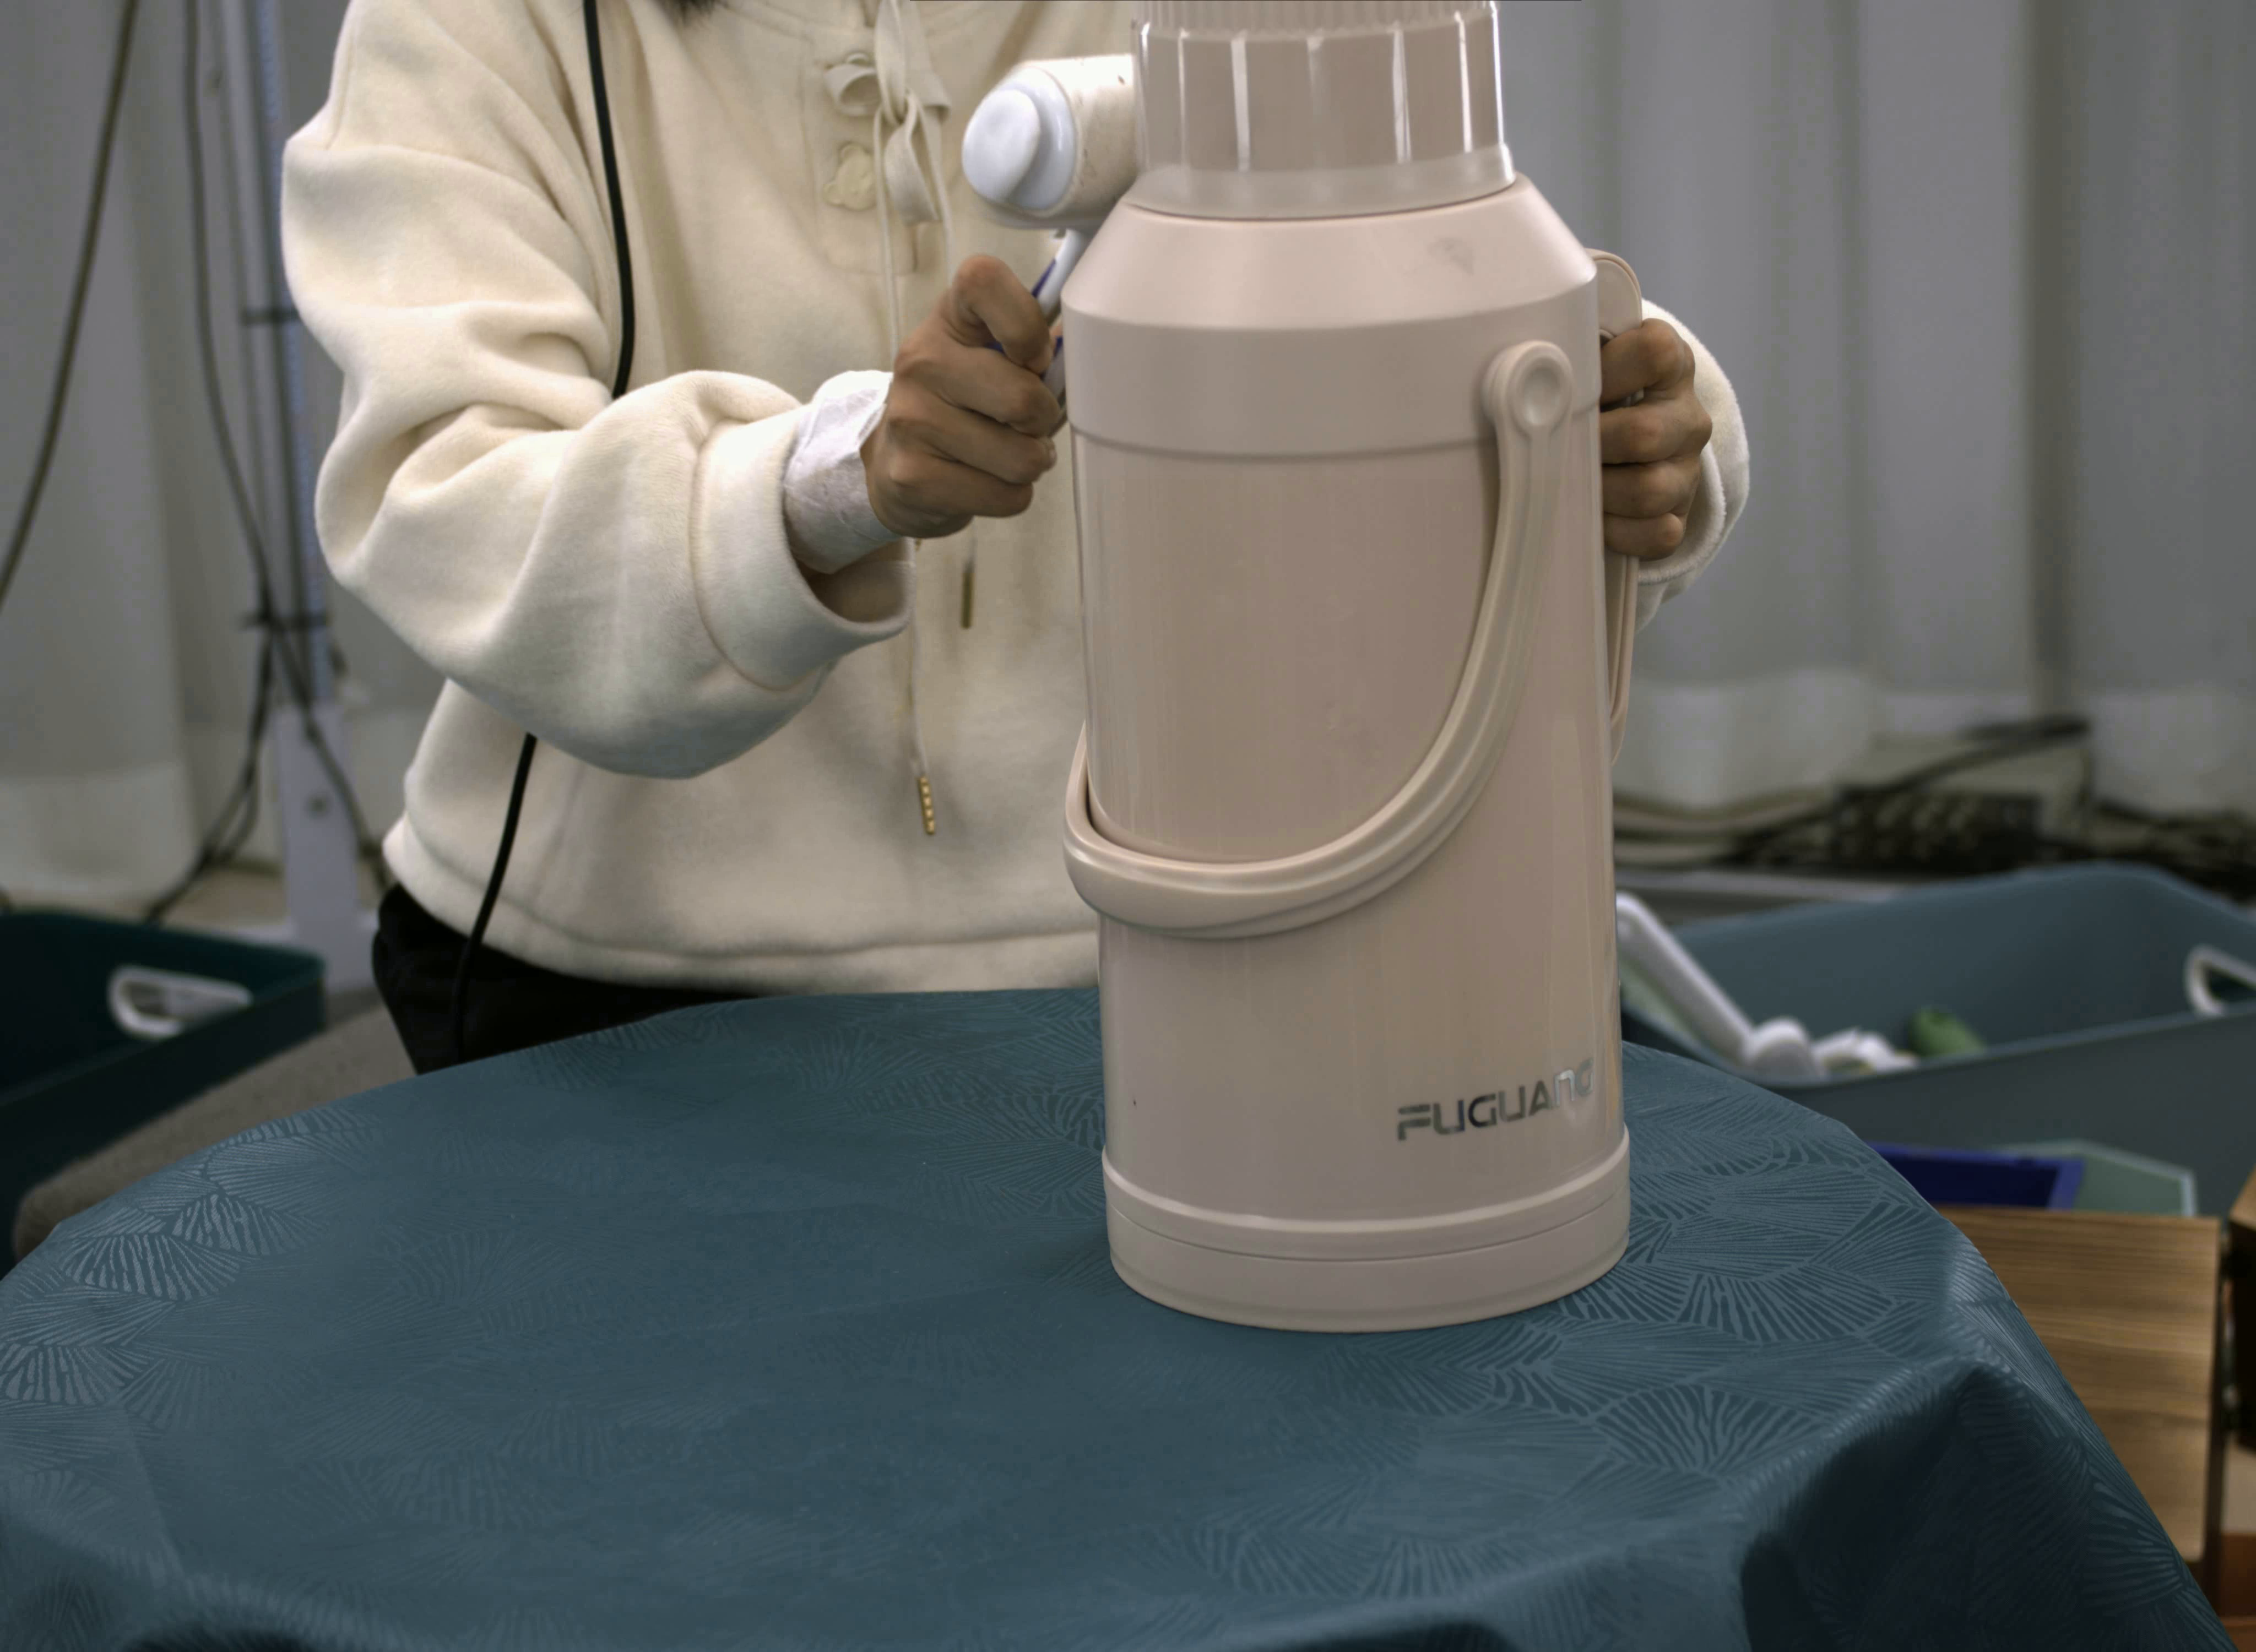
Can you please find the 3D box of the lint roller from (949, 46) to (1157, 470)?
[{"bbox_3d":[-0.015,-0.178,1.700,0.132,0.051,0.179,-11,-24,-34],"label":"lint roller"}]

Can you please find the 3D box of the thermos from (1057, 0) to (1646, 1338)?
[{"bbox_3d":[0.074,-0.067,1.616,0.206,0.405,0.176,-13,17,-38],"label":"thermos"}]
